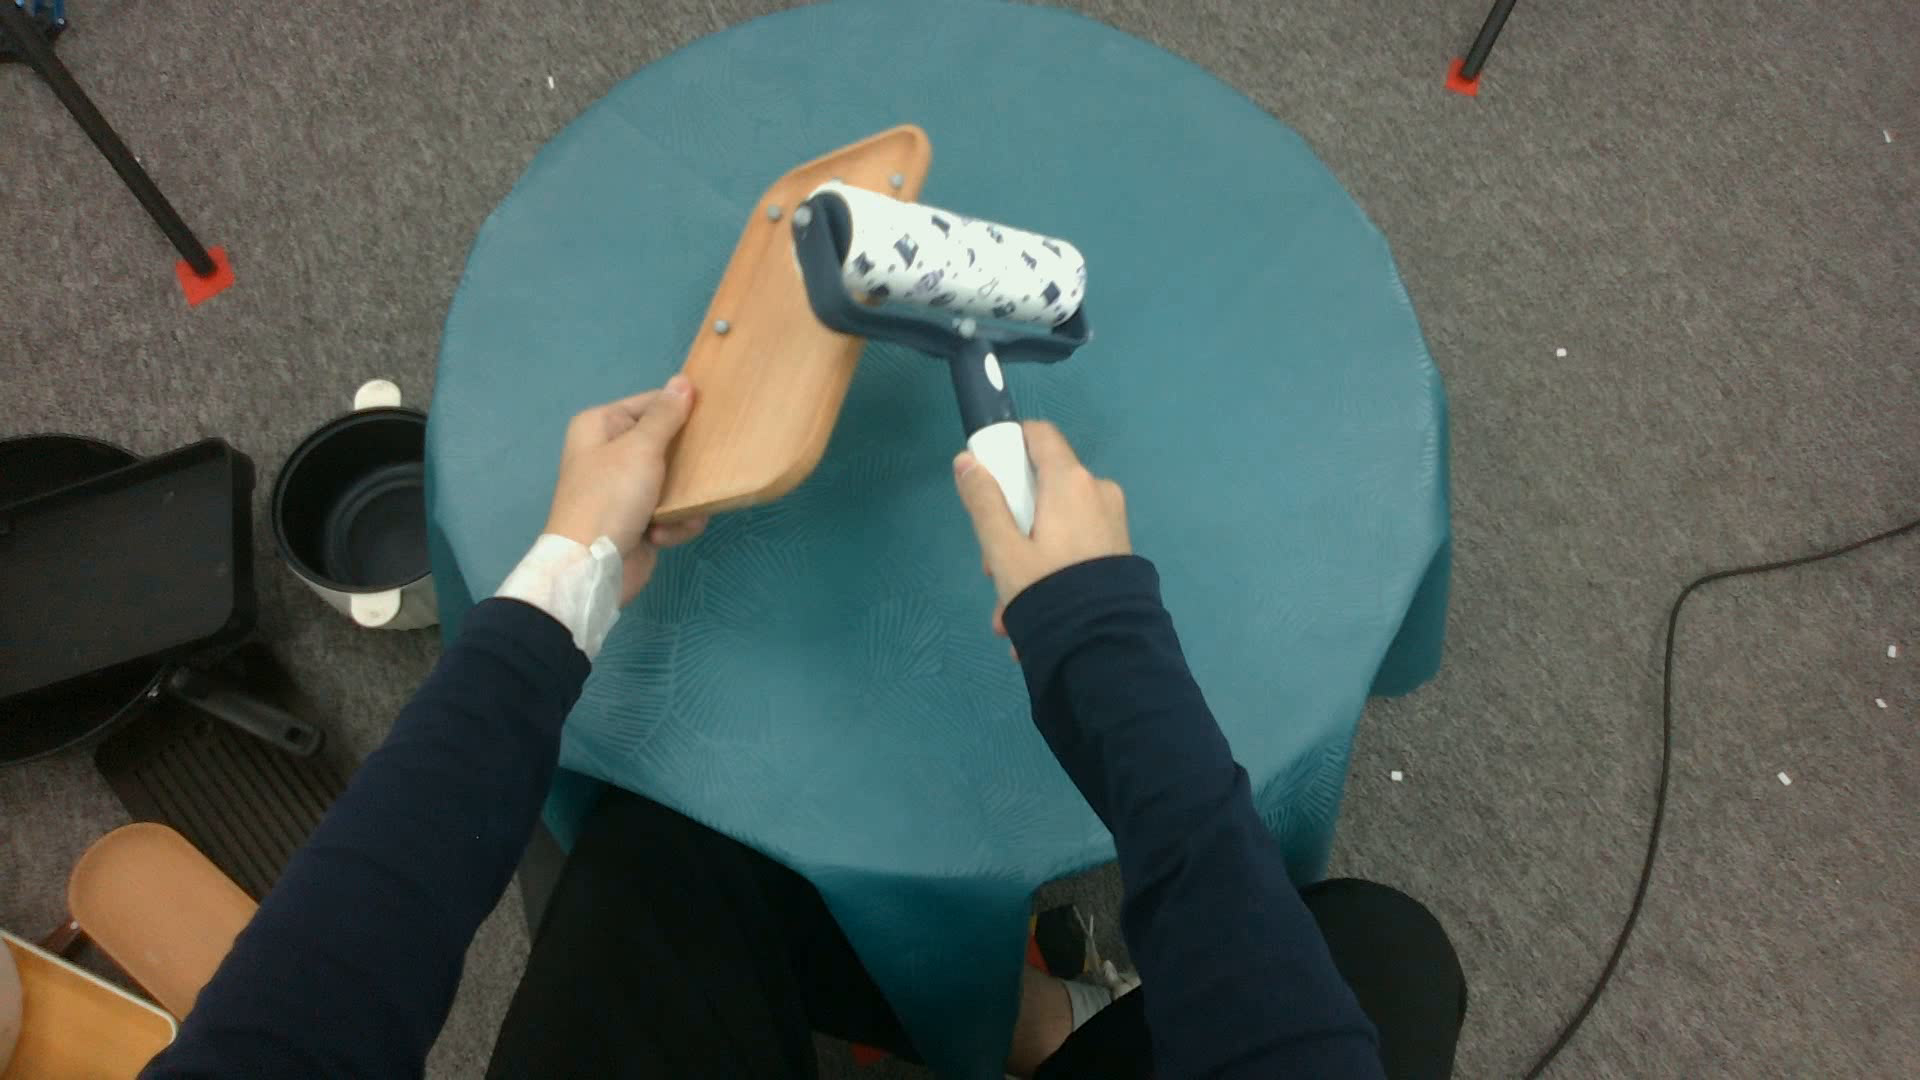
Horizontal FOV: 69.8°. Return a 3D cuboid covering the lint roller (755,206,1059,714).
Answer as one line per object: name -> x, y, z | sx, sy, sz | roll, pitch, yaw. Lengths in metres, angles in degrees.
lint roller -> 0.006, -0.039, 0.659 | 0.177, 0.050, 0.247 | -1, 66, -49

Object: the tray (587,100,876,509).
tray -> -0.115, -0.127, 0.720 | 0.023, 0.130, 0.252 | 39, 51, -37
